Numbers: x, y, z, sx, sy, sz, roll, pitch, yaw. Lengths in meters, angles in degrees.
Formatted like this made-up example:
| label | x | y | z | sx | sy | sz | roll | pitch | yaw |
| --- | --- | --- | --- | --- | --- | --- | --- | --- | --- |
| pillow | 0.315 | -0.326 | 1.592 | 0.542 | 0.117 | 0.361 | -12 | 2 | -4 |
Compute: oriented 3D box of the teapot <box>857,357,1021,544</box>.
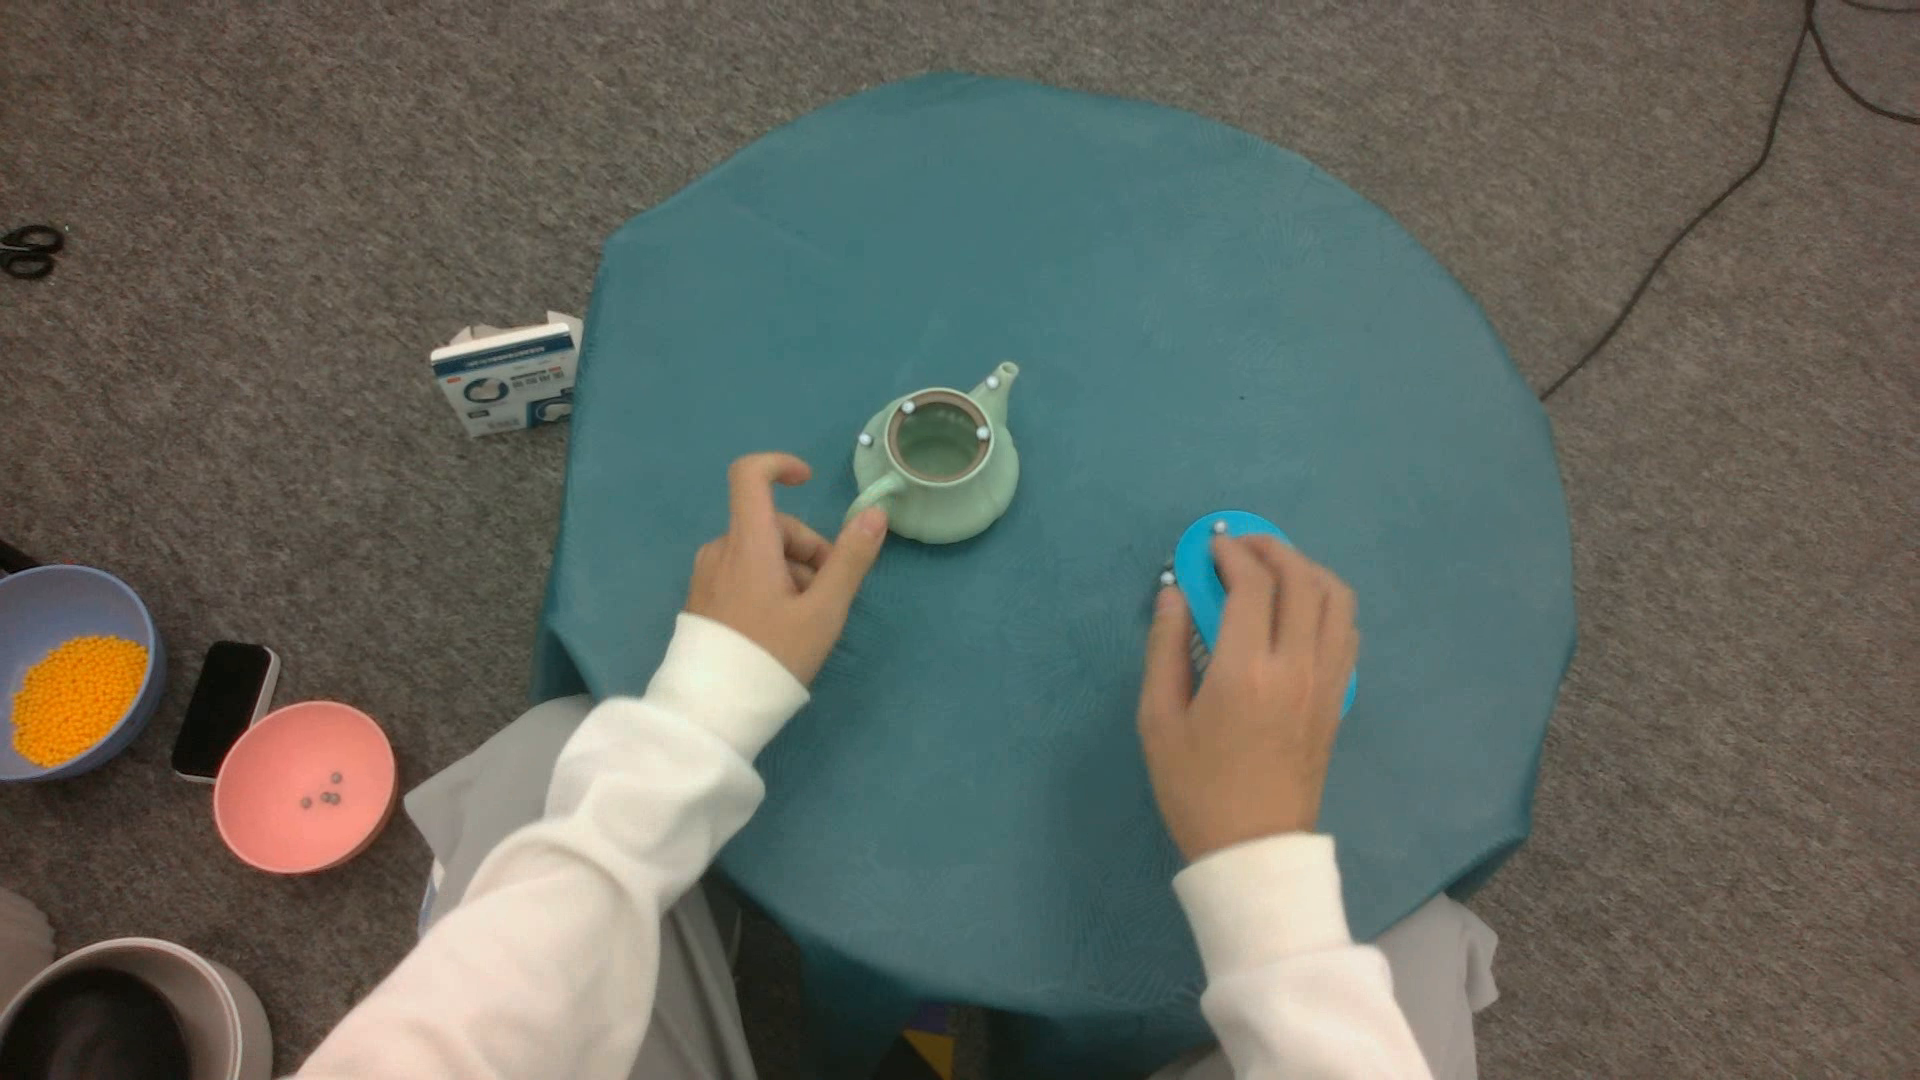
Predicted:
| label | x | y | z | sx | sy | sz | roll | pitch | yaw |
| --- | --- | --- | --- | --- | --- | --- | --- | --- | --- |
| teapot | -0.014 | -0.046 | 0.803 | 0.096 | 0.061 | 0.137 | 38 | 70 | 11 |

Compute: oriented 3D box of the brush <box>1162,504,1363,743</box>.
| label | x | y | z | sx | sy | sz | roll | pitch | yaw |
| --- | --- | --- | --- | --- | --- | --- | --- | --- | --- |
| brush | 0.174 | 0.038 | 0.771 | 0.084 | 0.063 | 0.142 | -17 | 68 | -15 |
